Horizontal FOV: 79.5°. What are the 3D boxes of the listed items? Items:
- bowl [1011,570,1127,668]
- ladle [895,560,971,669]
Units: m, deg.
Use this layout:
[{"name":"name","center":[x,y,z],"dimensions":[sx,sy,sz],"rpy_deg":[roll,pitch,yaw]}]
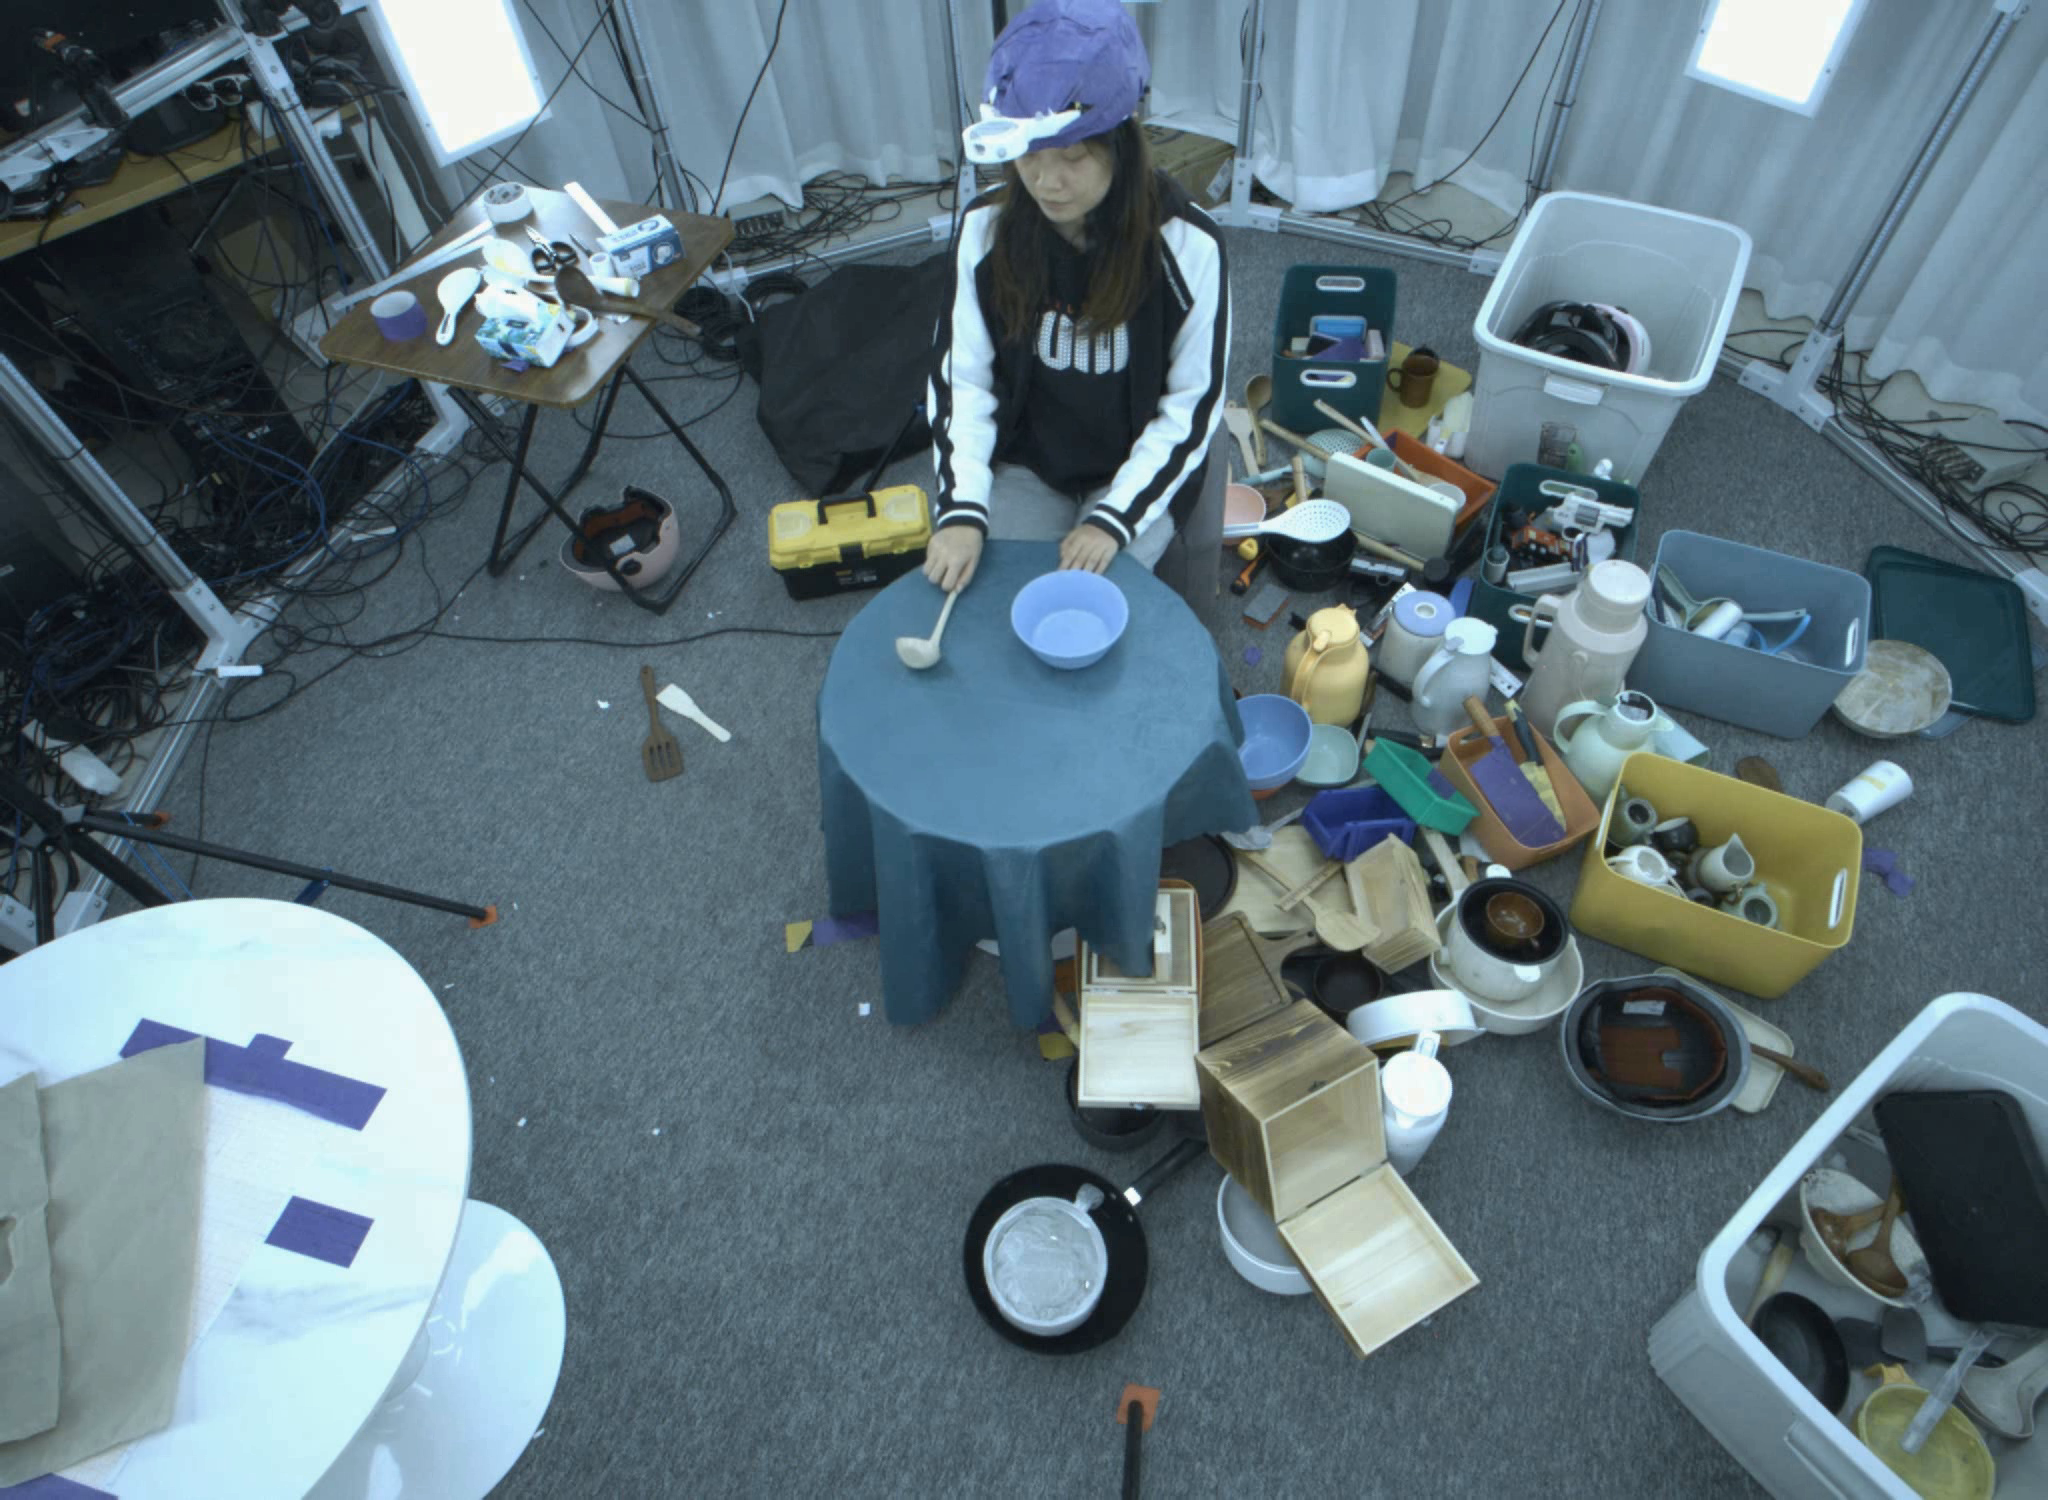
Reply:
[{"name":"bowl","center":[0.068,-0.190,1.877],"dimensions":[0.176,0.071,0.174],"rpy_deg":[0,55,1]},{"name":"ladle","center":[-0.134,-0.234,1.913],"dimensions":[0.071,0.074,0.253],"rpy_deg":[4,54,19]}]
